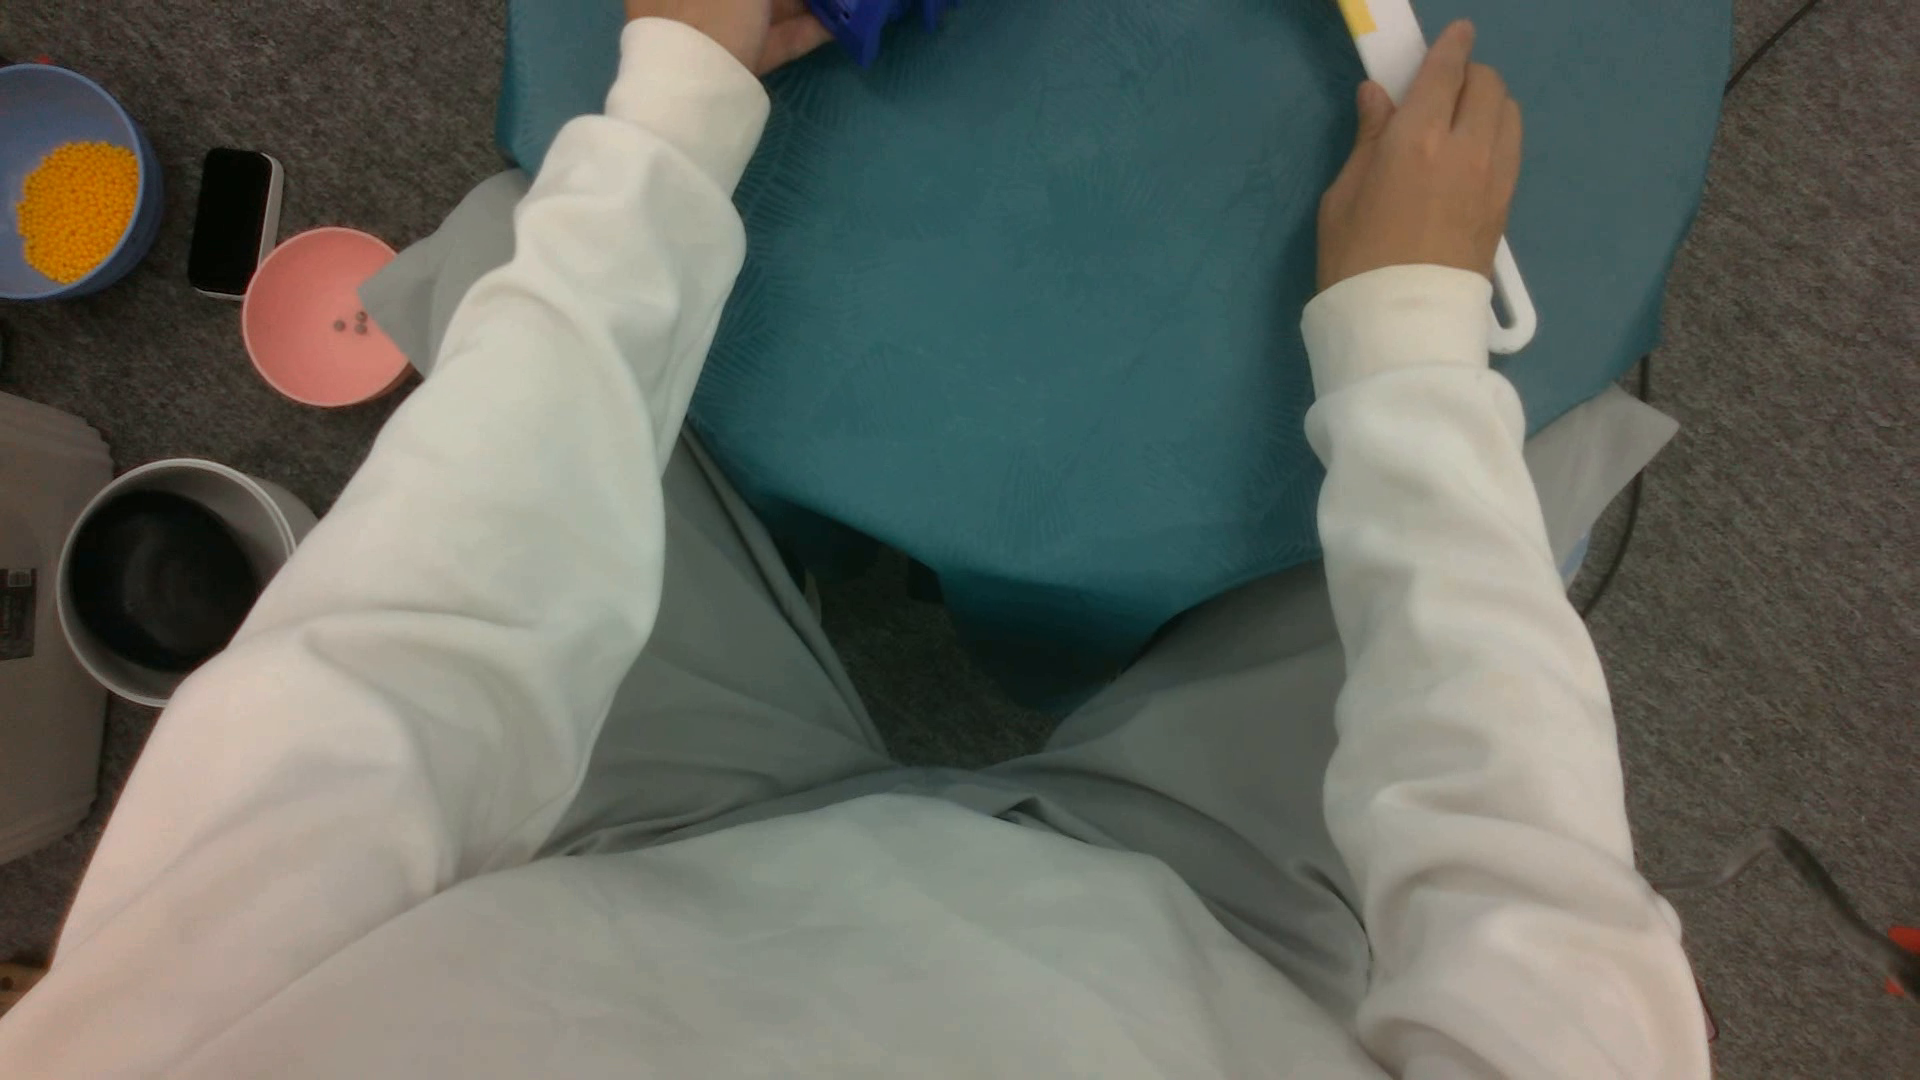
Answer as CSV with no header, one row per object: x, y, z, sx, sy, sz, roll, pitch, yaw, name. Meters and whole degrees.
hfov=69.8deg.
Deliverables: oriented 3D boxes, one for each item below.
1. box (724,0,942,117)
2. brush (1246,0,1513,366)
-0.035,-0.306,0.644,0.179,0.082,0.124,-43,88,-4,box
0.199,-0.207,0.673,0.068,0.056,0.266,-26,100,10,brush
